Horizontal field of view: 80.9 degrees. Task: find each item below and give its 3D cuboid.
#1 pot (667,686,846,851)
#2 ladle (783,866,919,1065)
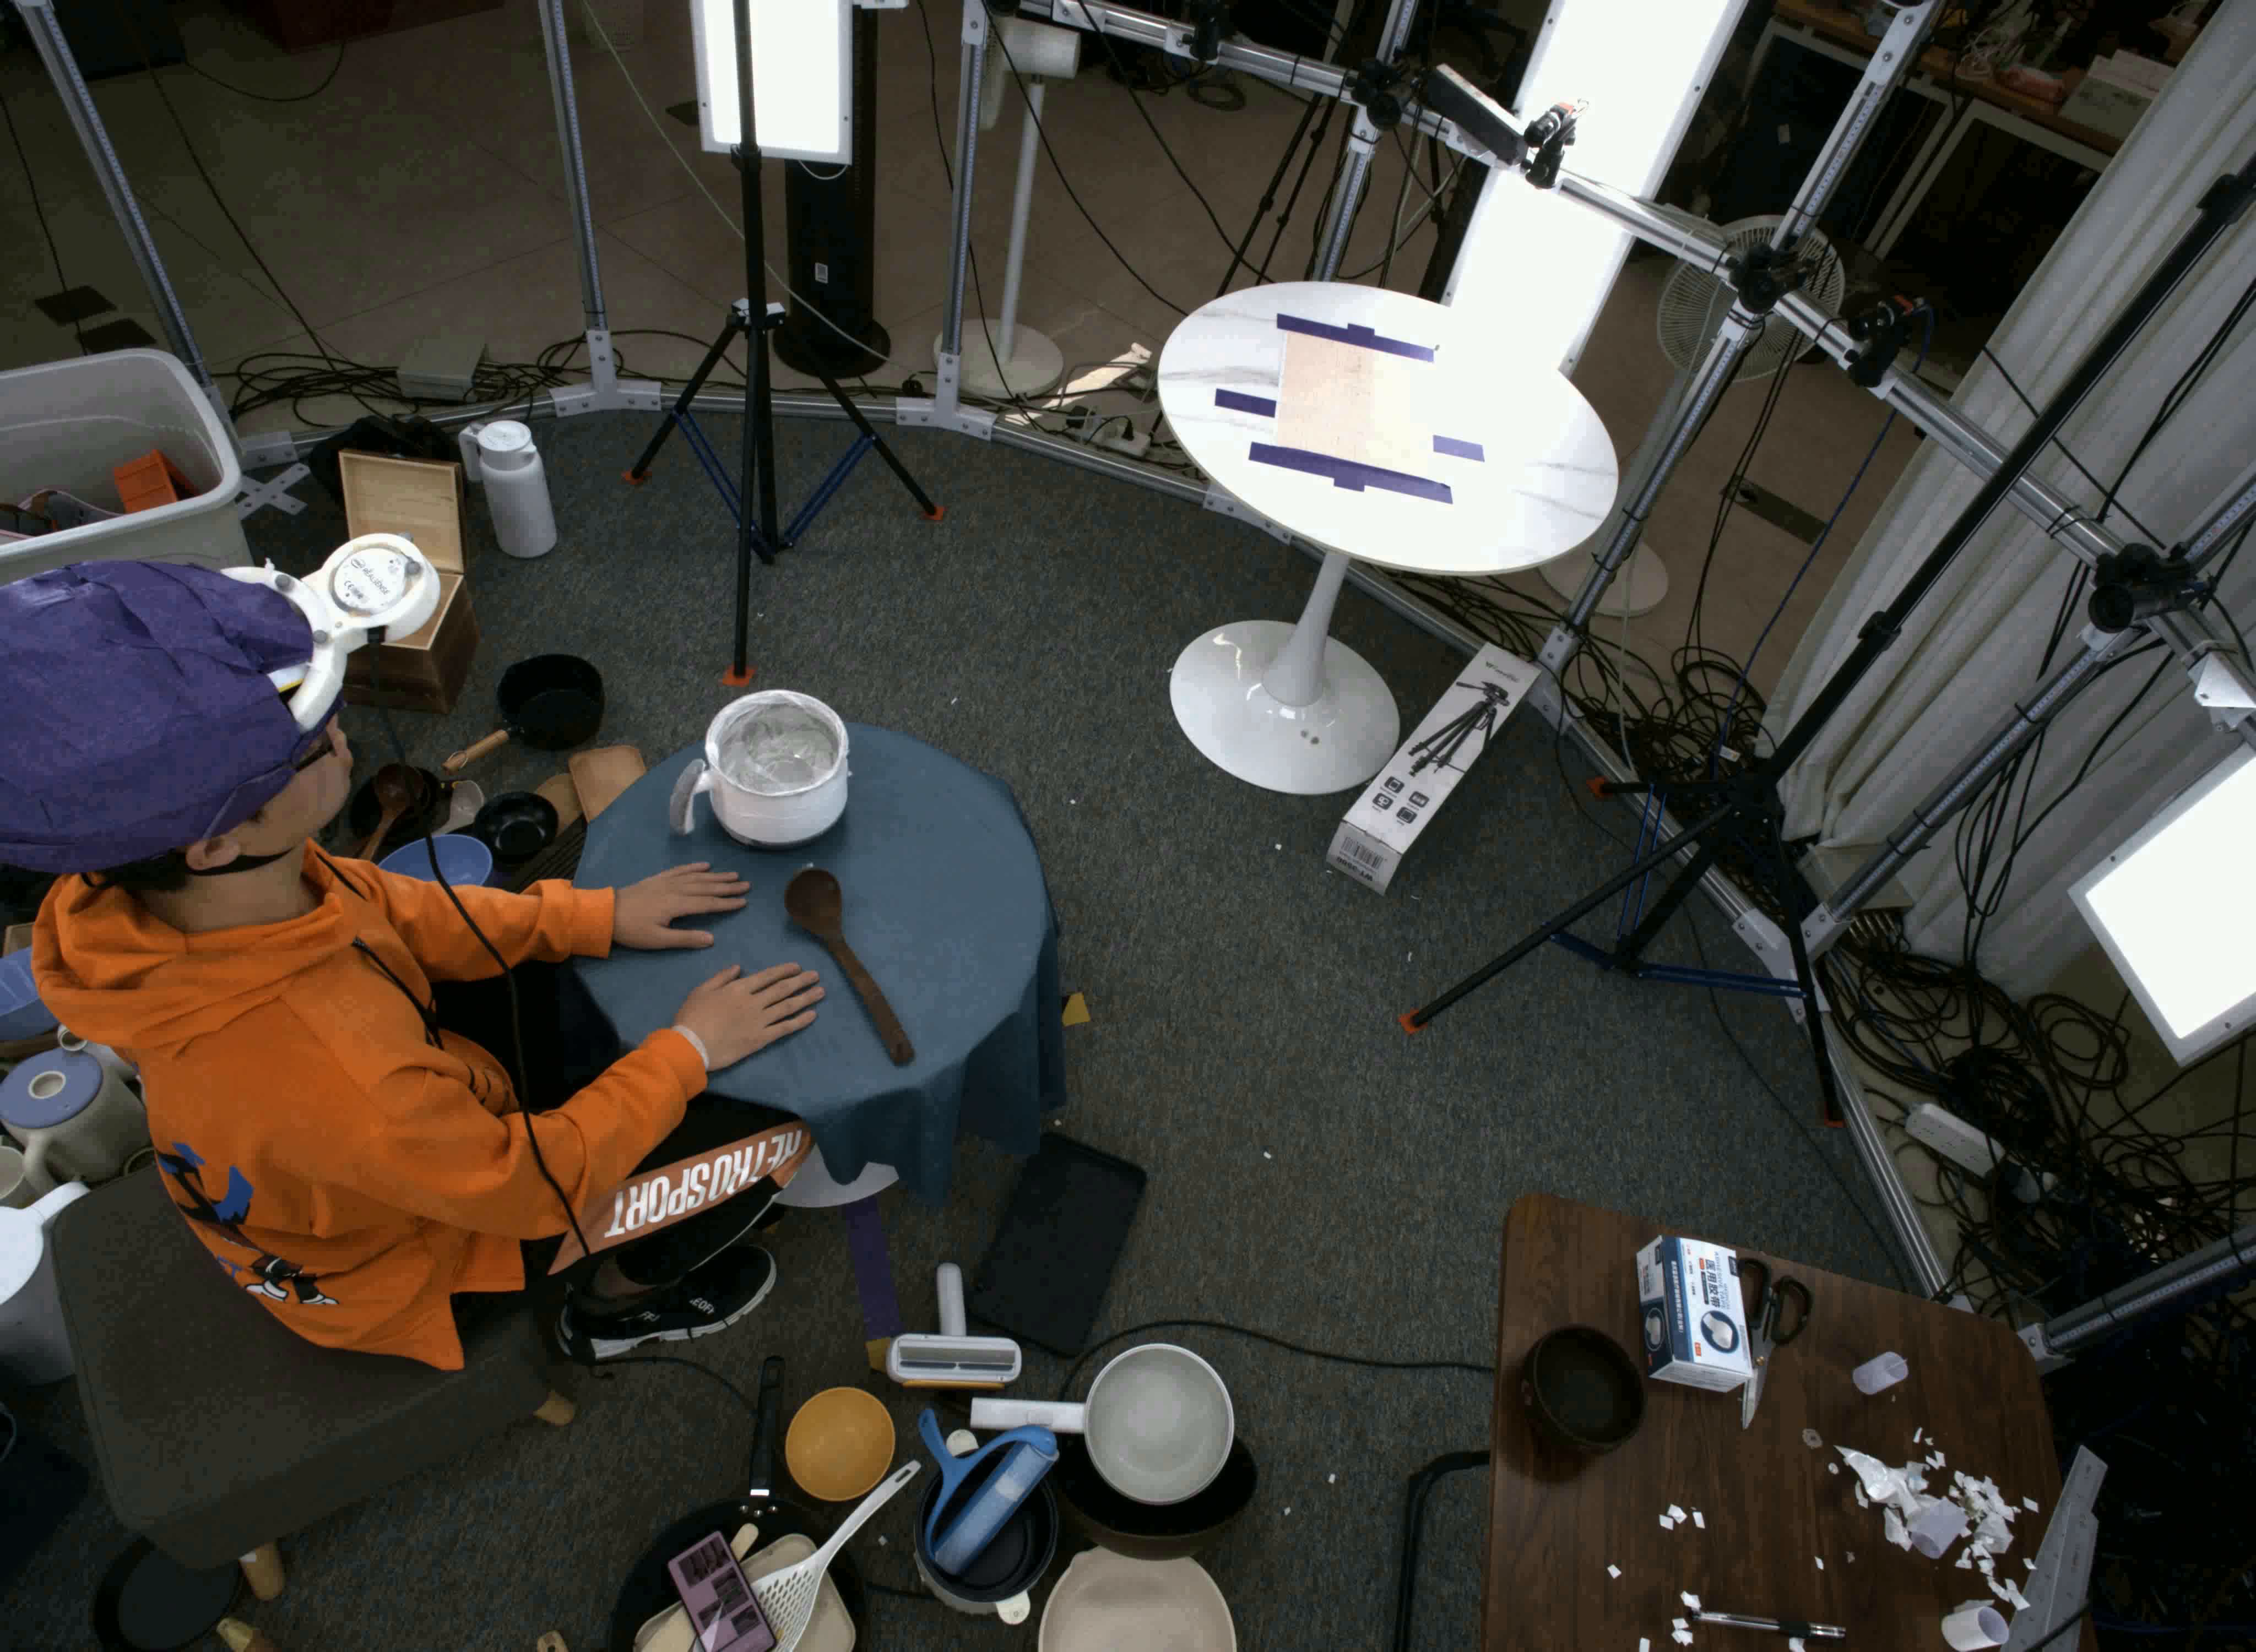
[{"bbox_3d":[-0.477,-0.061,1.656,0.235,0.139,0.174,-21,60,-28],"label":"pot"},{"bbox_3d":[-0.331,0.162,1.572,0.076,0.073,0.267,-26,63,-26],"label":"ladle"}]
